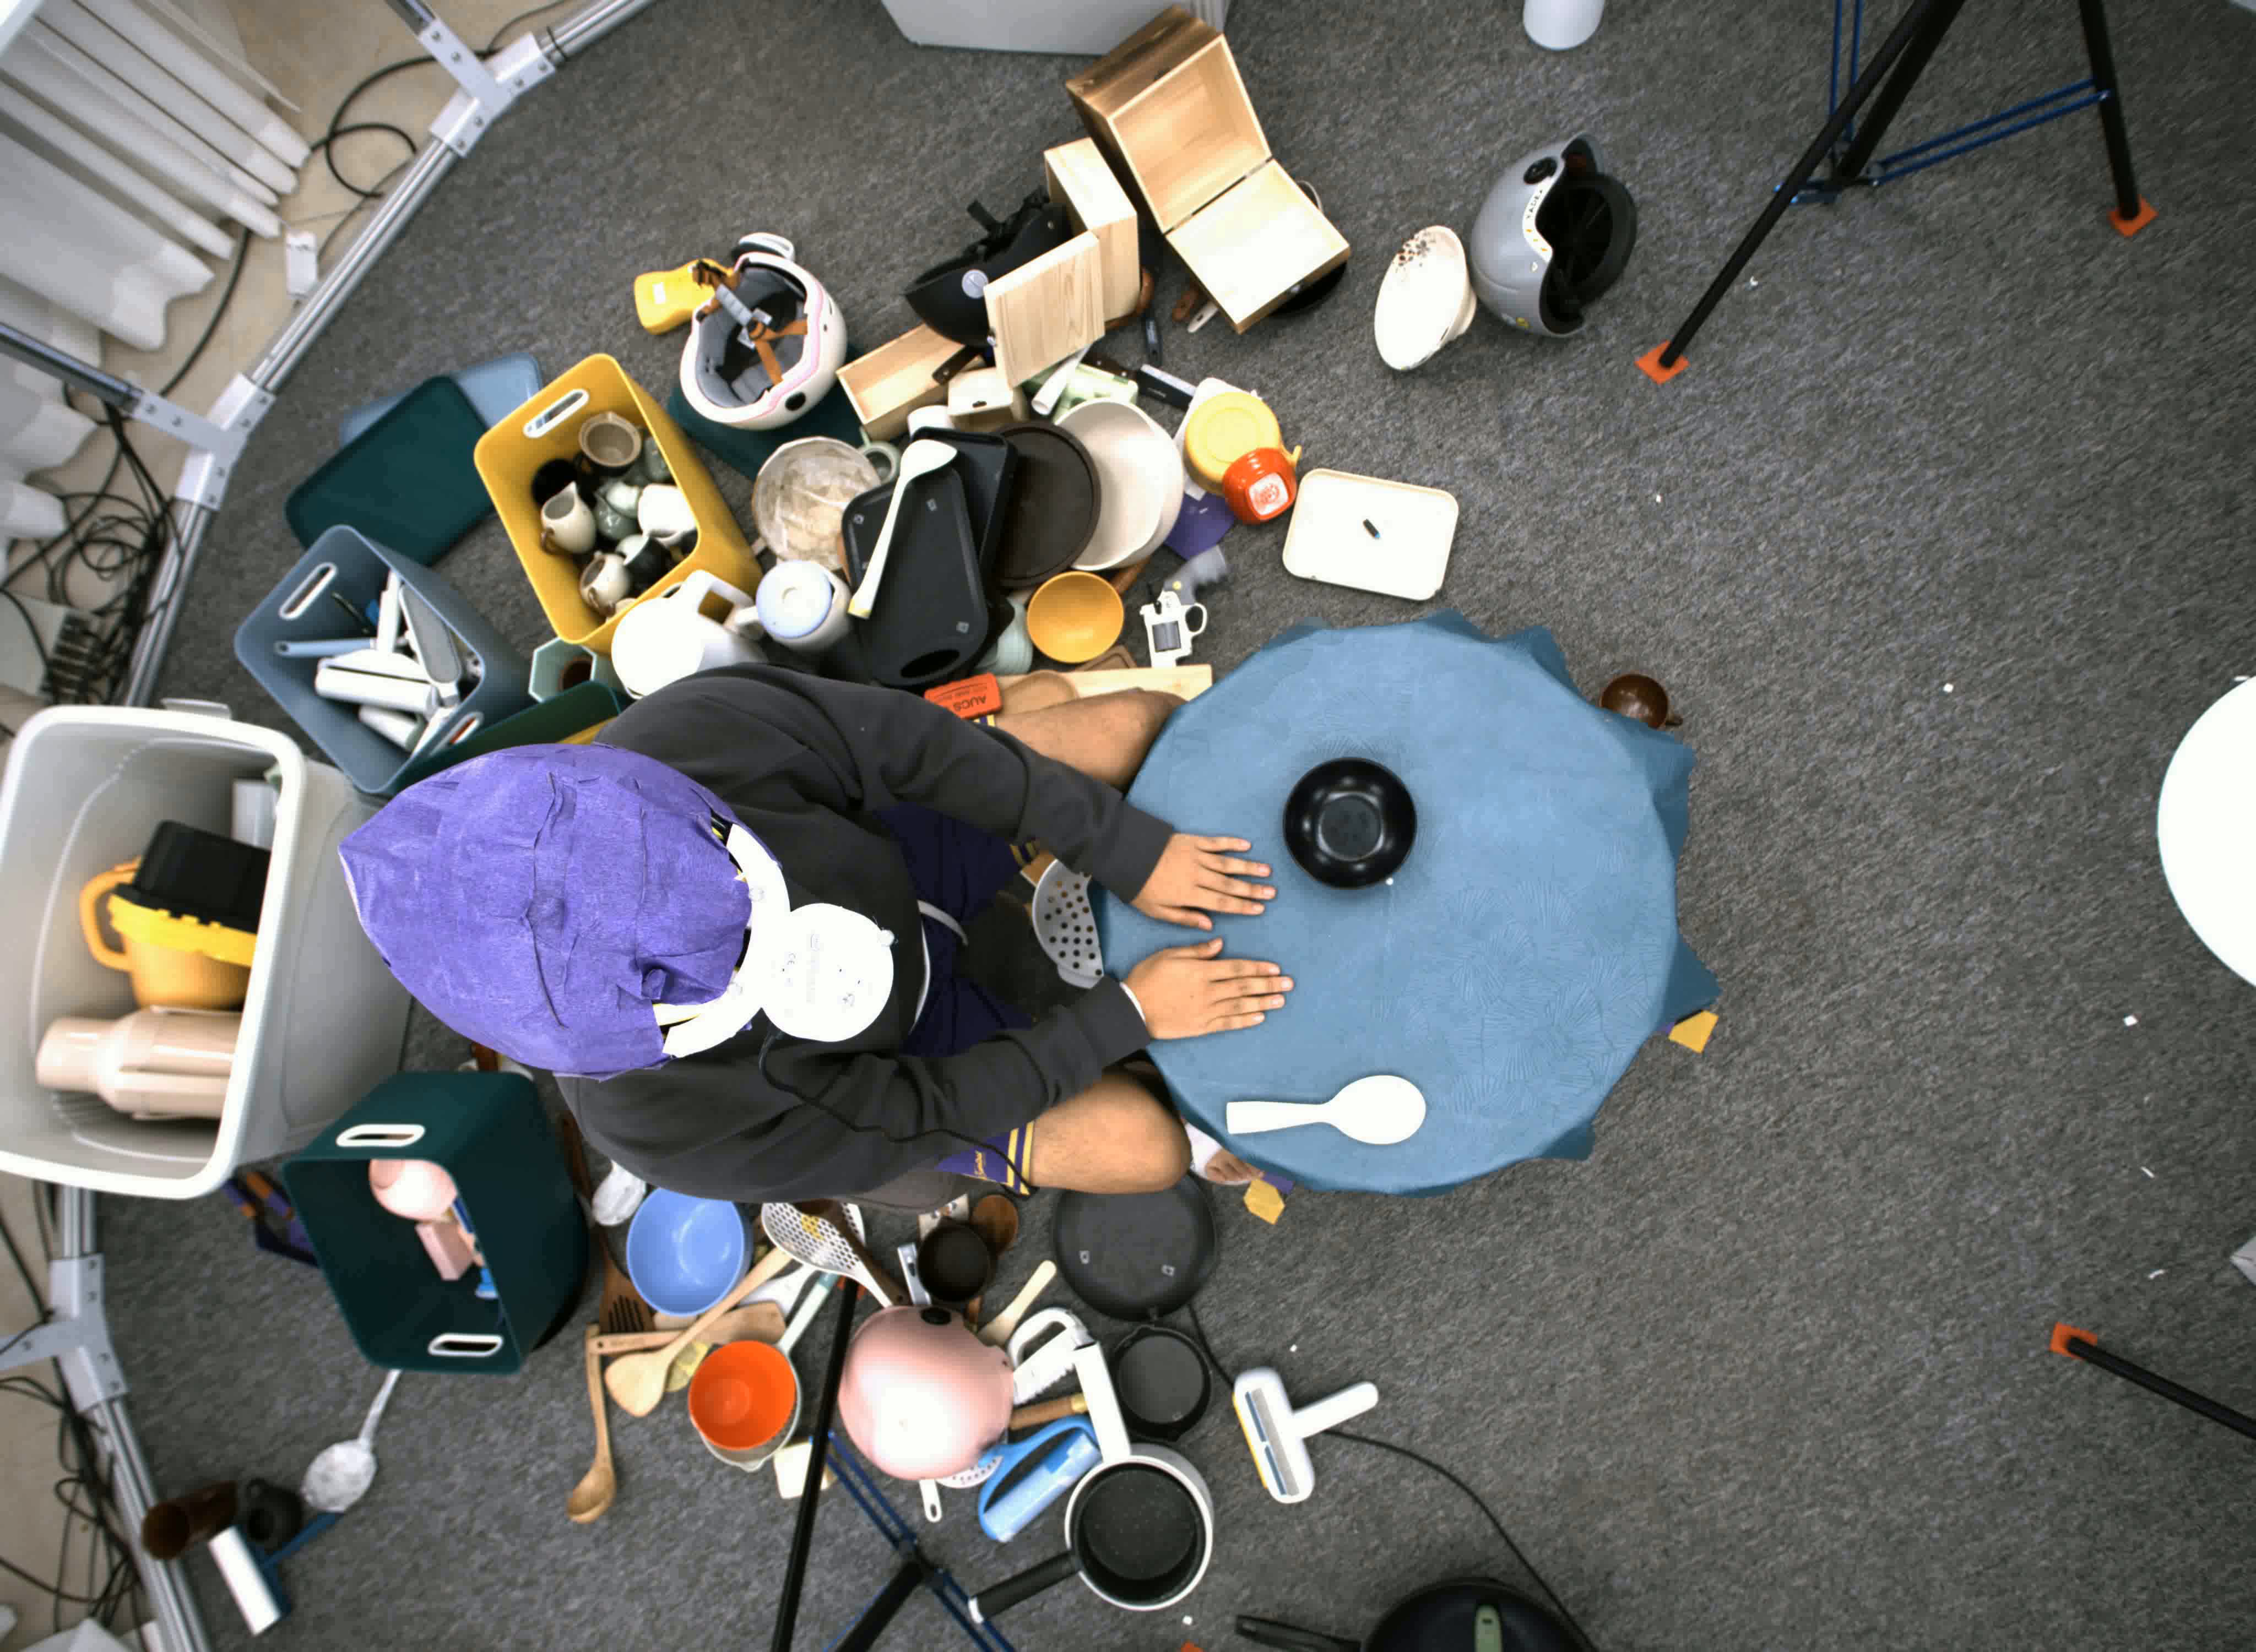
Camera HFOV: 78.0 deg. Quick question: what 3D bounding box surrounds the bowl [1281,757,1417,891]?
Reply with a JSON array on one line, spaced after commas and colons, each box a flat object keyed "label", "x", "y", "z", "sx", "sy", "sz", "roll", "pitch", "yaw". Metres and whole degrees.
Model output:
[{"label": "bowl", "x": 0.232, "y": -0.002, "z": 1.447, "sx": 0.140, "sy": 0.050, "sz": 0.139, "roll": -1, "pitch": 88, "yaw": 12}]

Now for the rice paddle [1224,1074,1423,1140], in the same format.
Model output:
[{"label": "rice paddle", "x": 0.204, "y": 0.296, "z": 1.444, "sx": 0.206, "sy": 0.029, "sz": 0.068, "roll": -6, "pitch": 87, "yaw": 11}]
